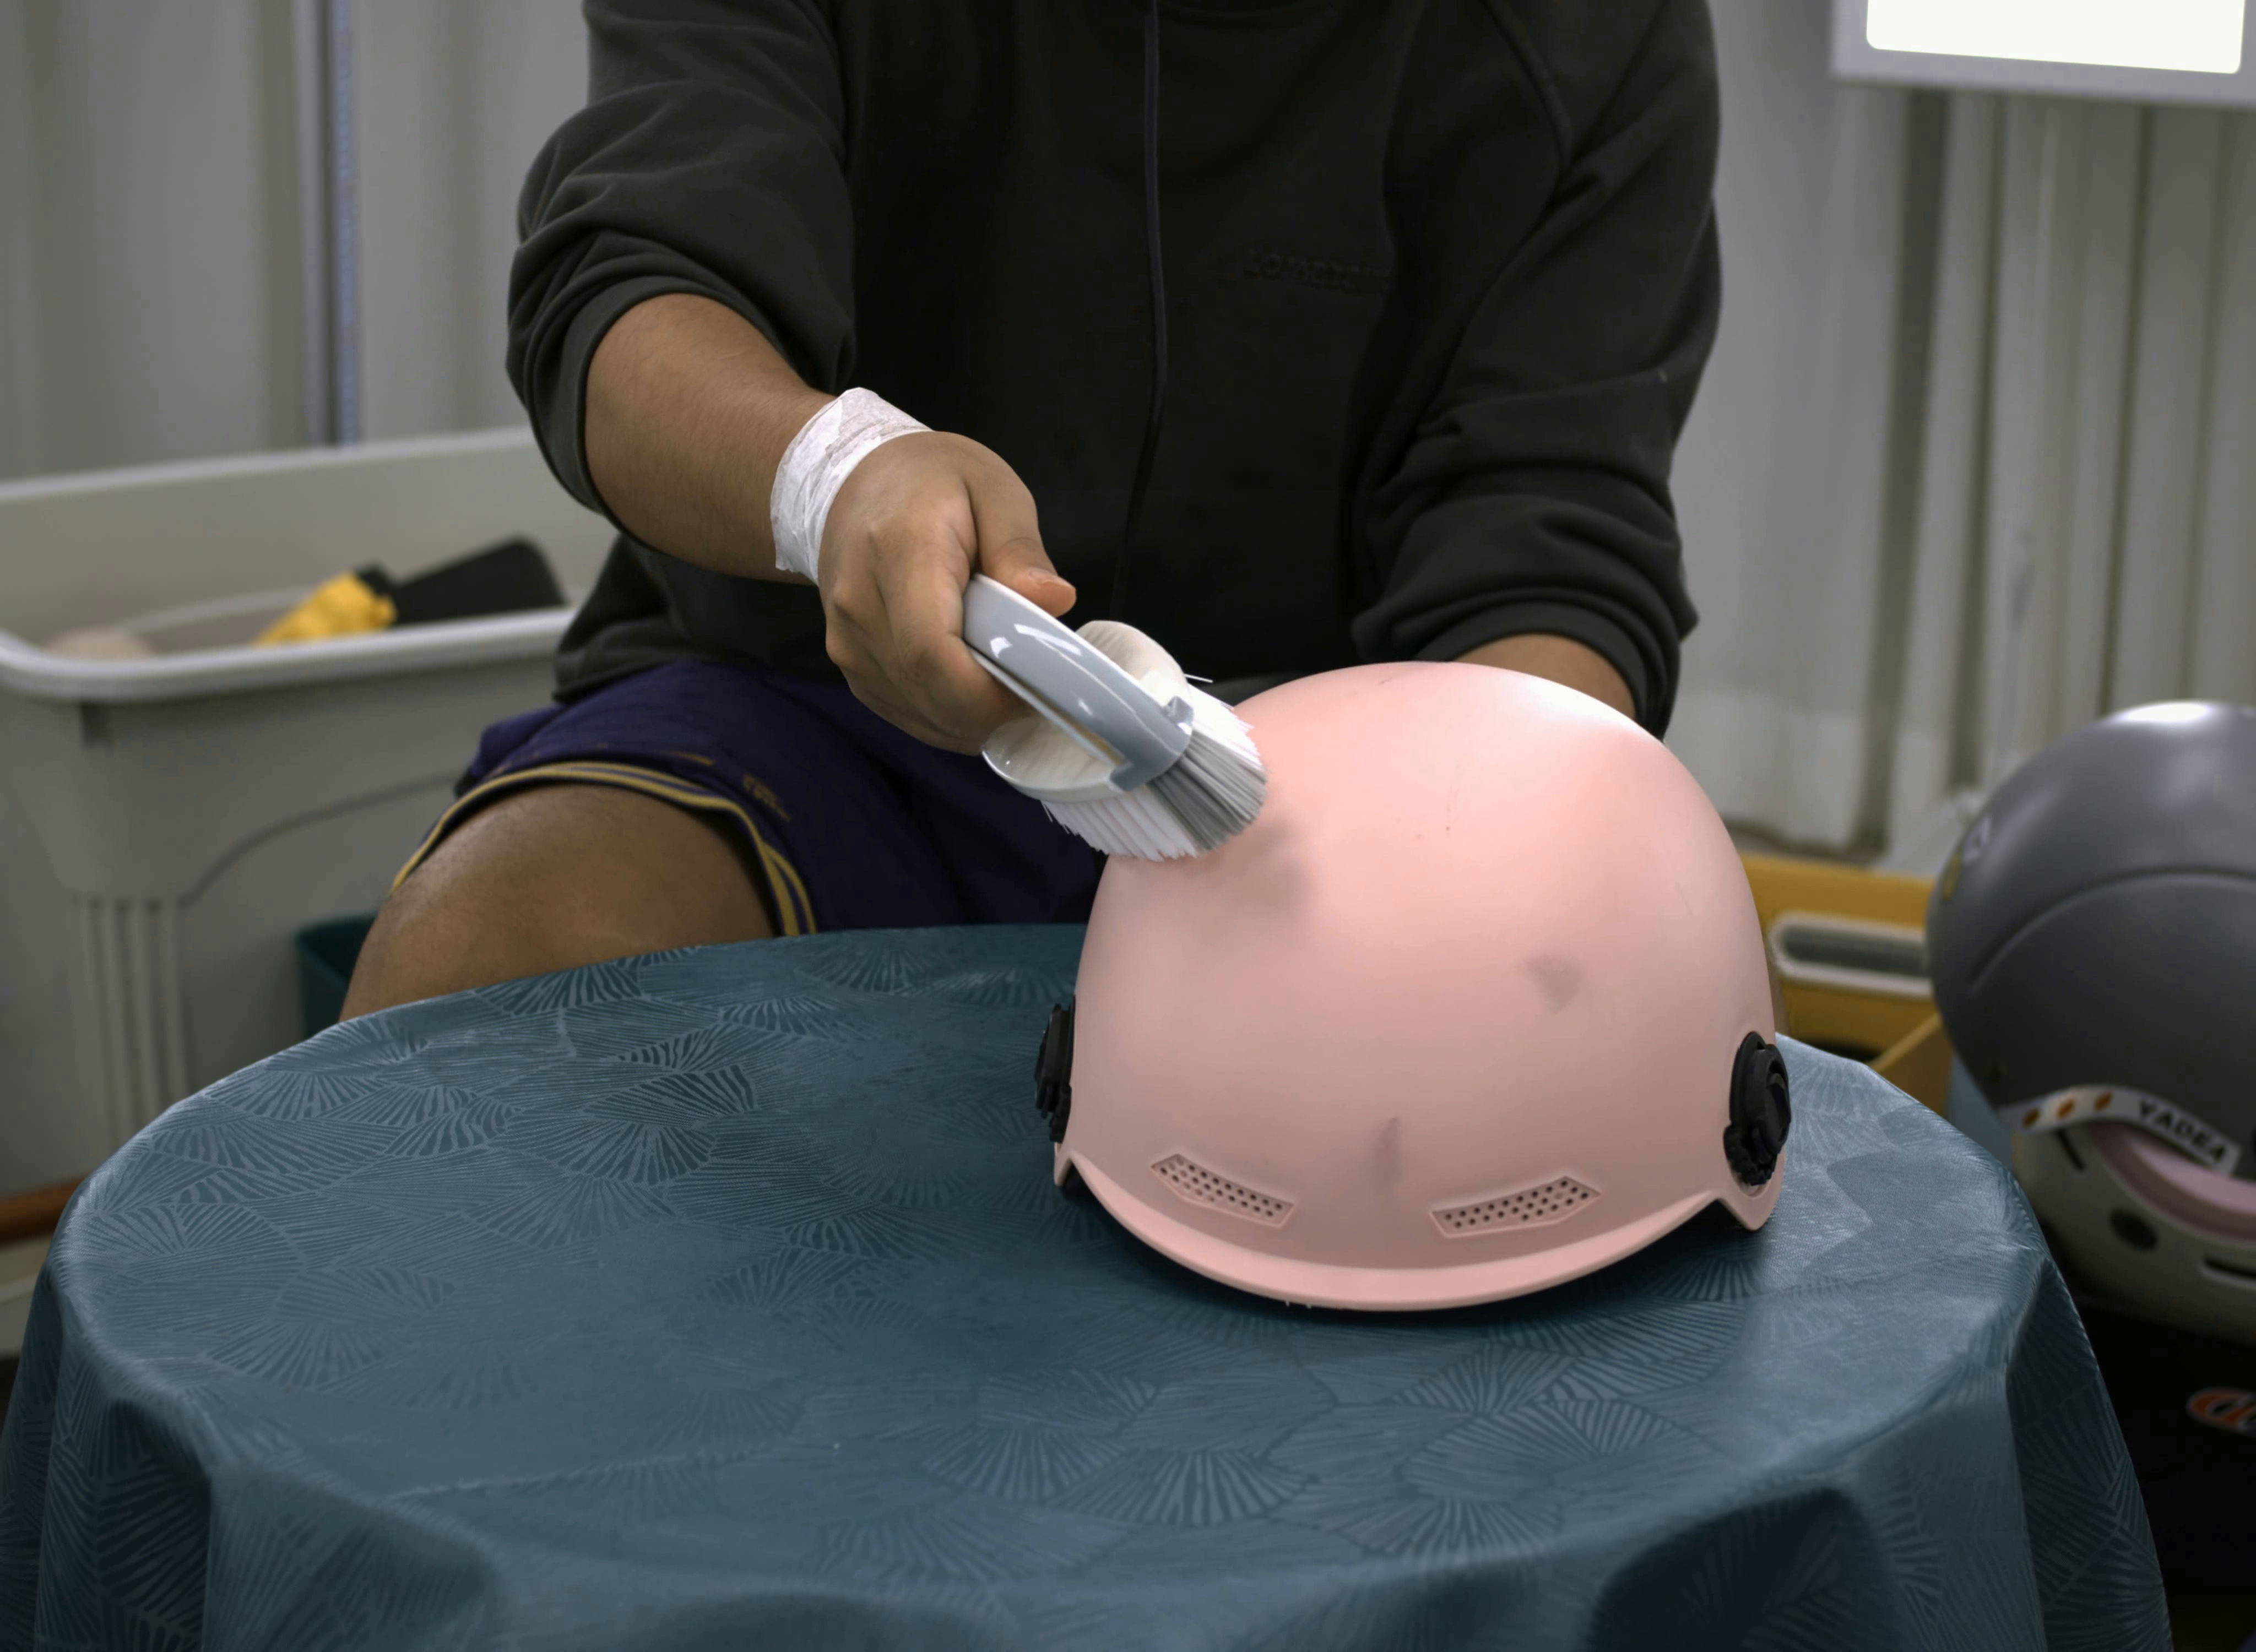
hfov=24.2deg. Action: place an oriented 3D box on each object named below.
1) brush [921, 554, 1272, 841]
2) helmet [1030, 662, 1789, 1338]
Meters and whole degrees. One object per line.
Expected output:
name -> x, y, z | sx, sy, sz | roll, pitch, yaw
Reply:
brush -> -0.013, -0.043, 1.571 | 0.095, 0.061, 0.174 | 39, -1, -19
helmet -> 0.088, 0.038, 1.611 | 0.232, 0.160, 0.265 | 4, 21, 8
